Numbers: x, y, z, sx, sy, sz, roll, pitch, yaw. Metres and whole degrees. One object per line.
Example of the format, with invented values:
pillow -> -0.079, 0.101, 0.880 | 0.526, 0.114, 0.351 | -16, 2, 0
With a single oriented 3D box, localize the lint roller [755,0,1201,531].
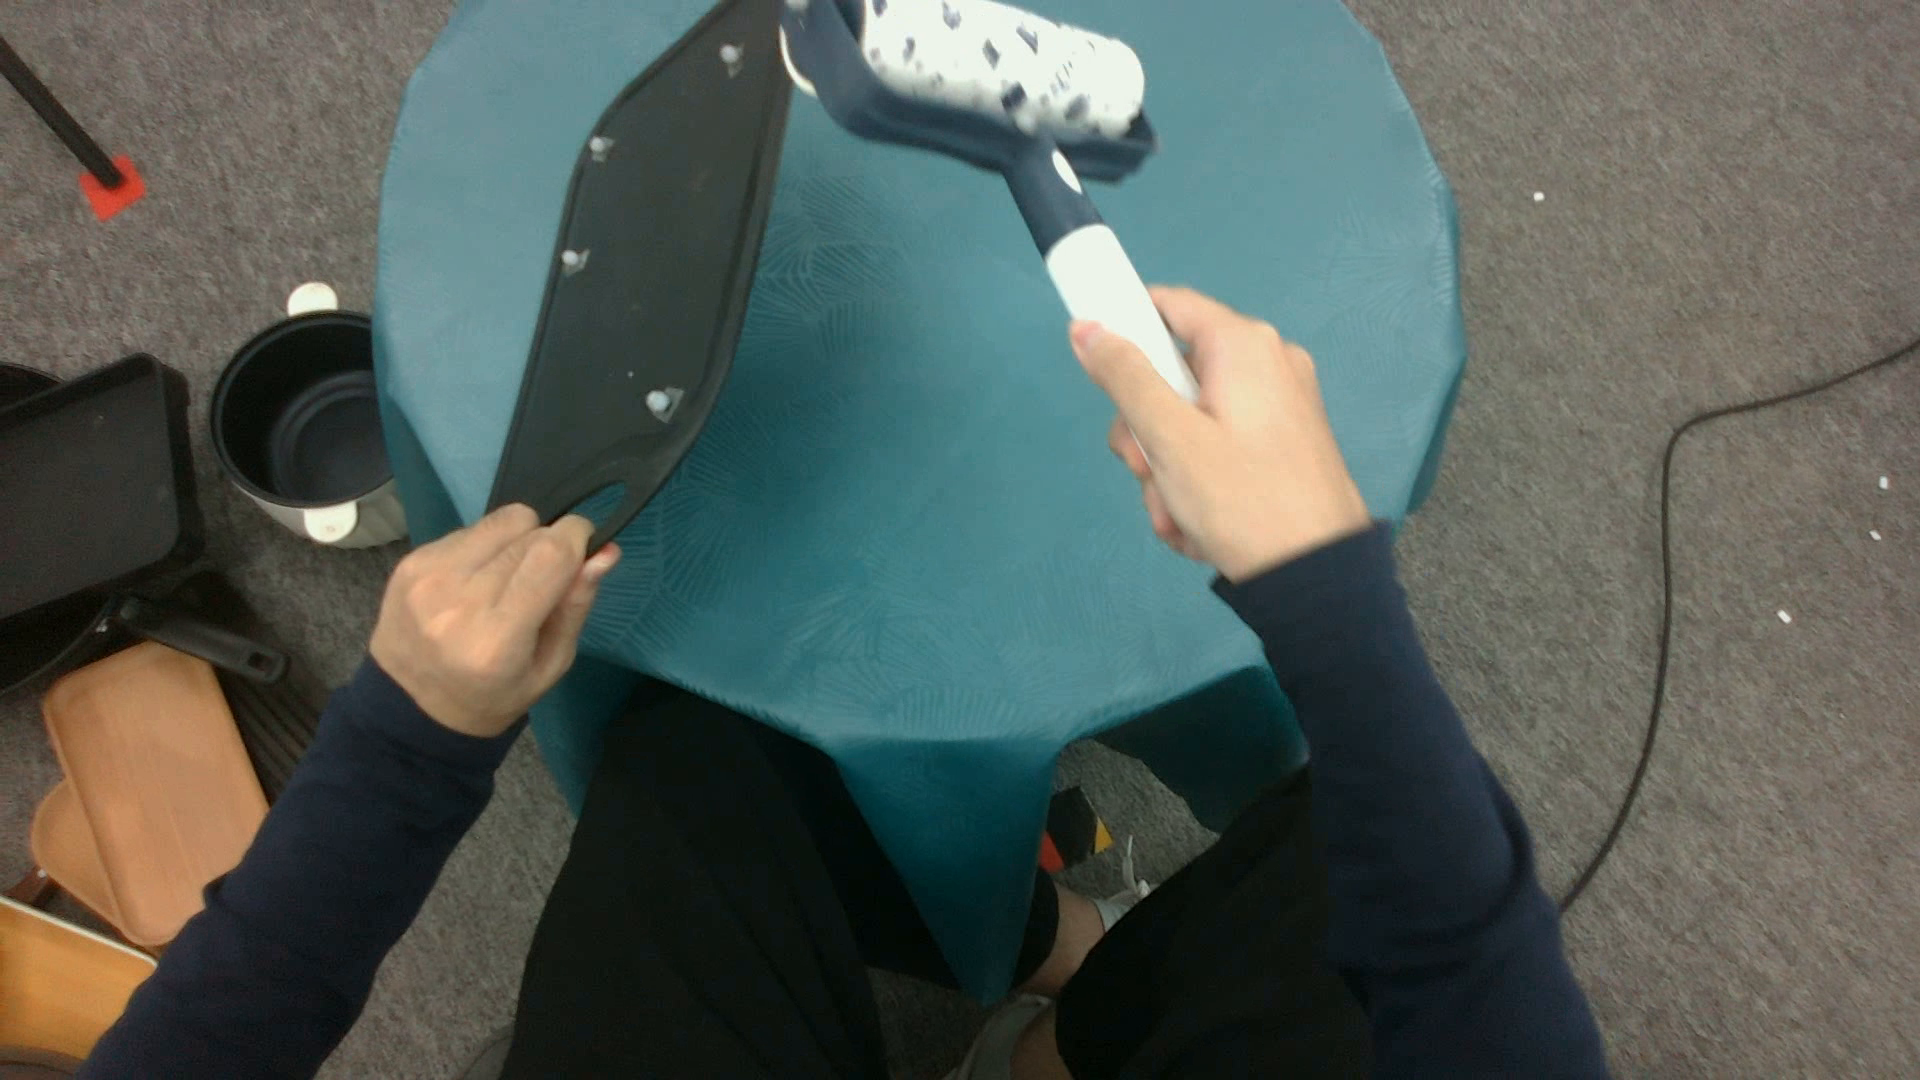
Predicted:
lint roller -> 0.034, -0.119, 0.520 | 0.177, 0.050, 0.247 | -7, 66, -51

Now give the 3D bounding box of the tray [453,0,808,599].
tray -> -0.152, -0.124, 0.631 | 0.010, 0.210, 0.327 | 31, 52, -36
